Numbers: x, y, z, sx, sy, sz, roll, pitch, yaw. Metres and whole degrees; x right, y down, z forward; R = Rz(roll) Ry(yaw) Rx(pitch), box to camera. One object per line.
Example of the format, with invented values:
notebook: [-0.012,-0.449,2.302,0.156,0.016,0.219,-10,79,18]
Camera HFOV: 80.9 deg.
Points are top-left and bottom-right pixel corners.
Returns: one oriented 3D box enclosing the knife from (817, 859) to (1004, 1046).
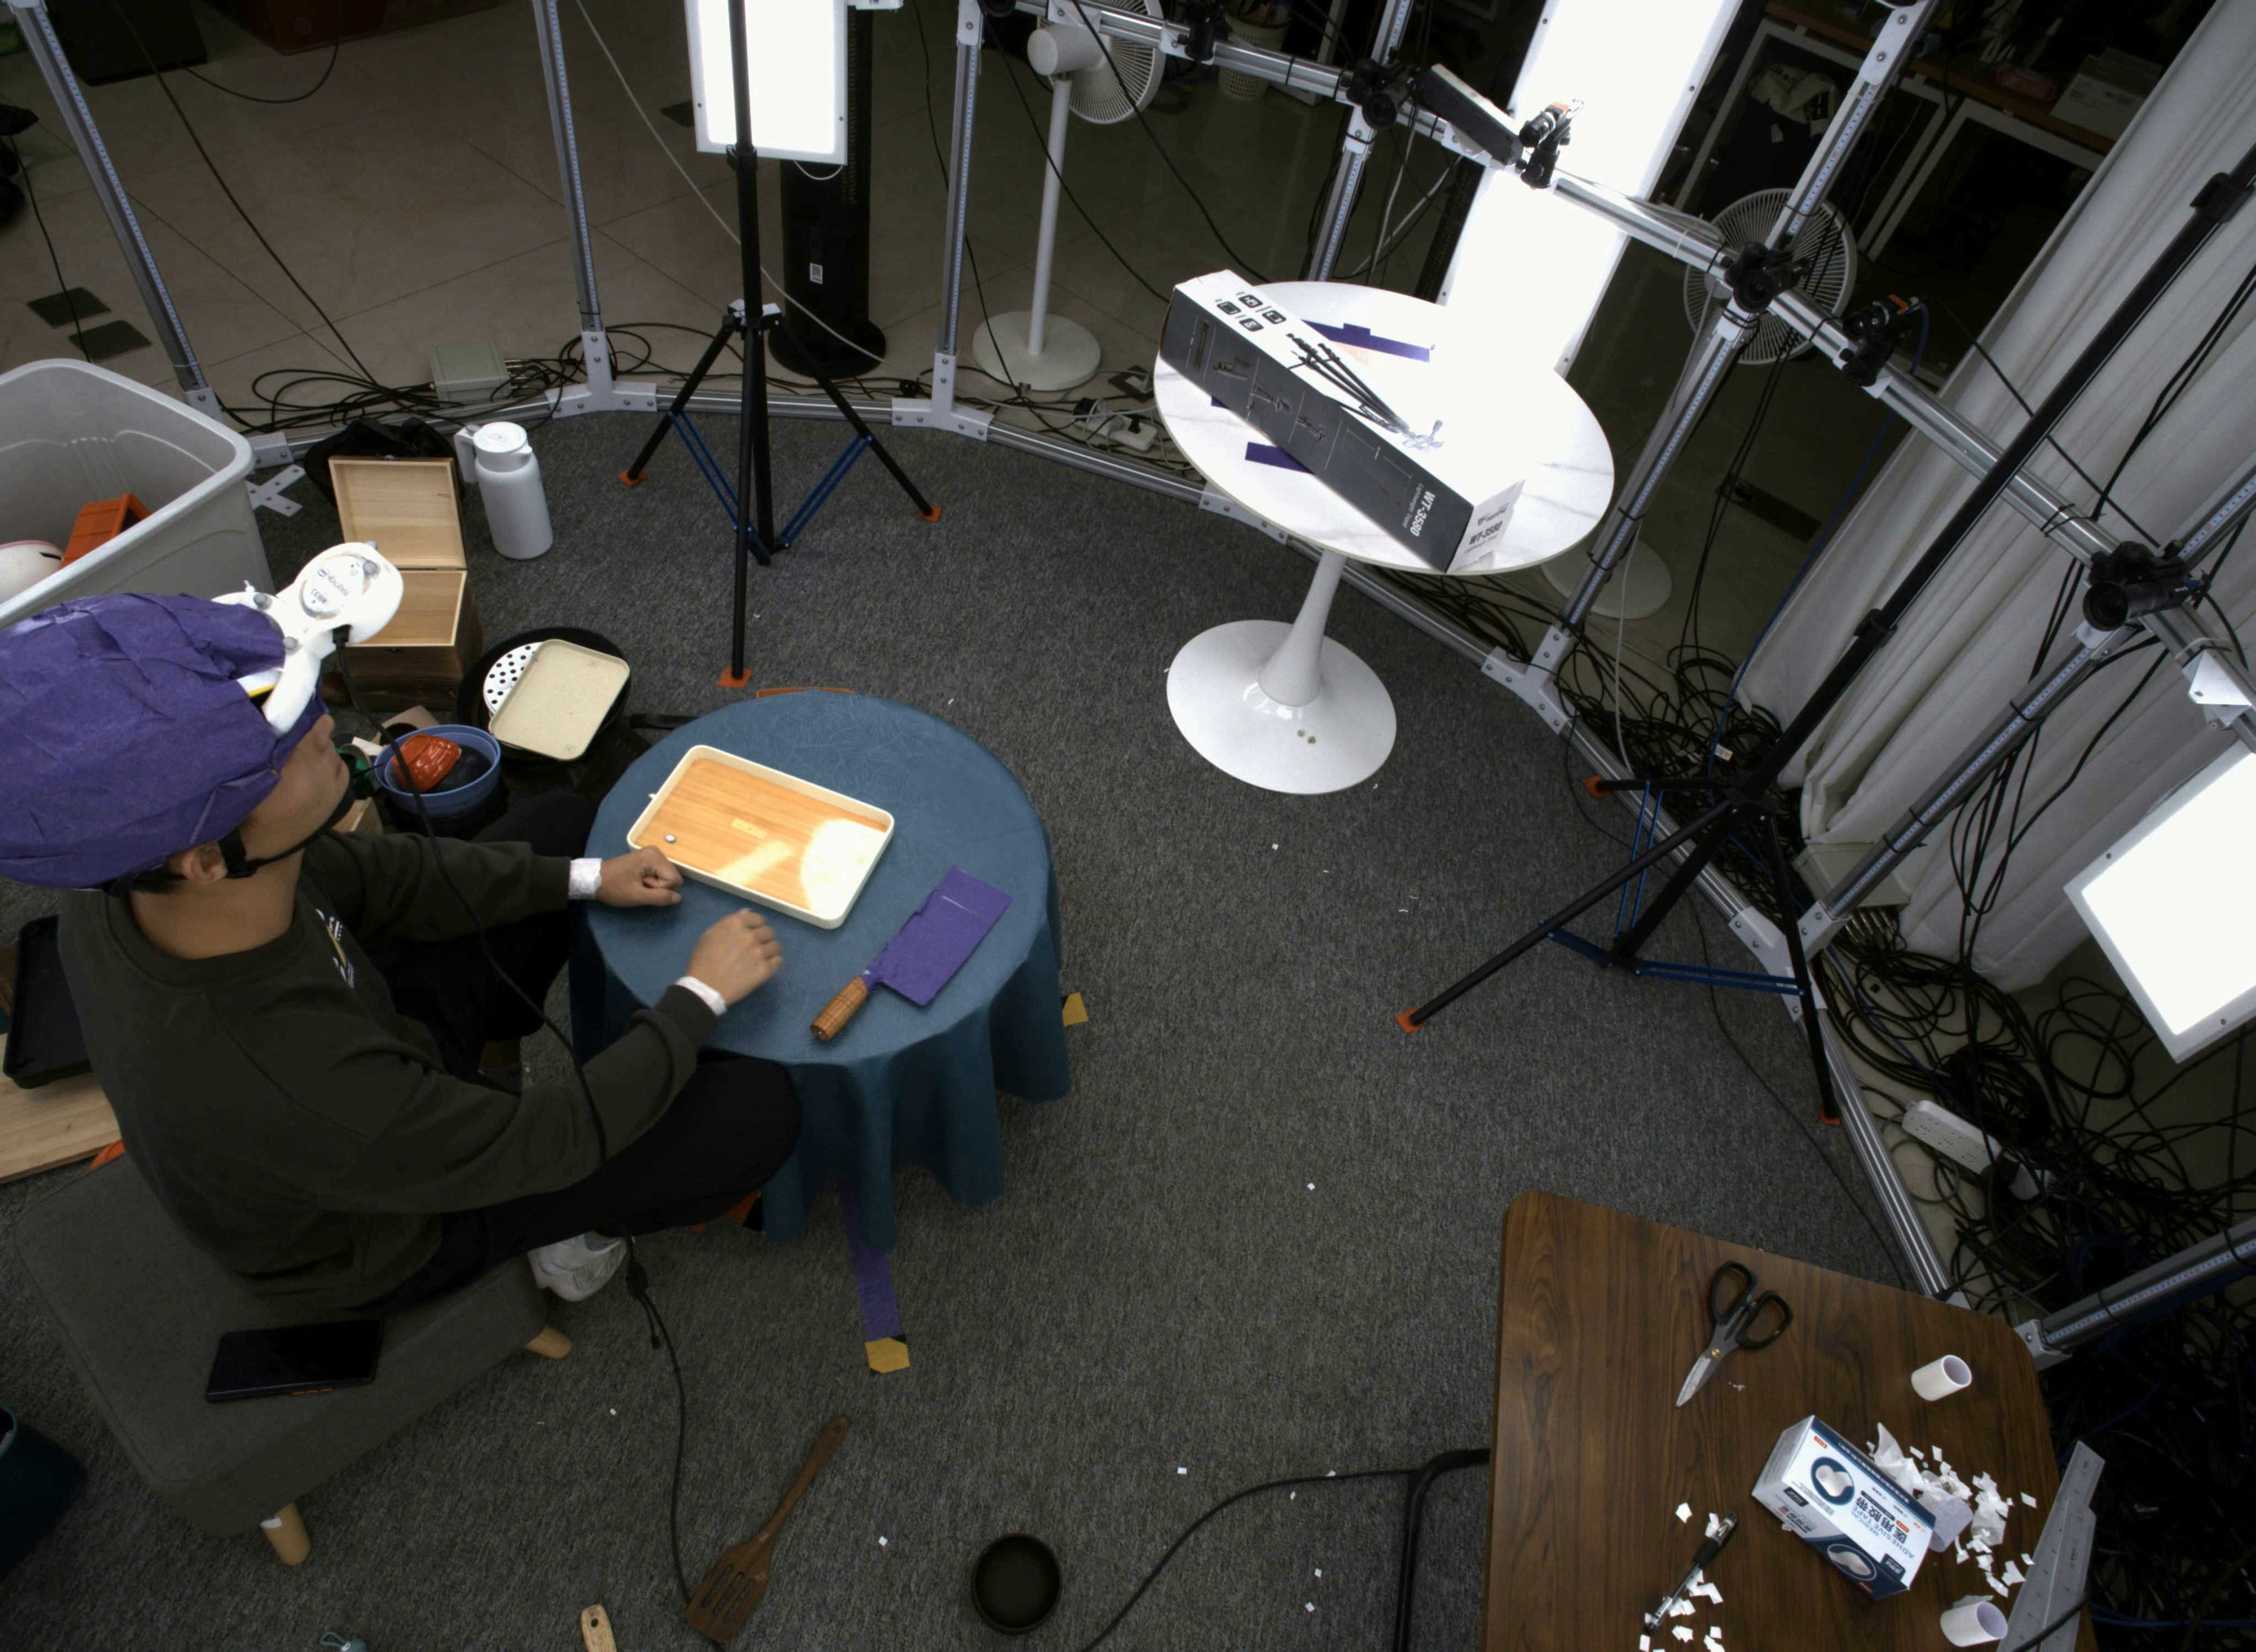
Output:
knife: [-0.264,0.163,1.638,0.102,0.033,0.314,29,52,8]

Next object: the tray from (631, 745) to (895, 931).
tray: [-0.476,0.011,1.696,0.297,0.028,0.190,20,52,1]
